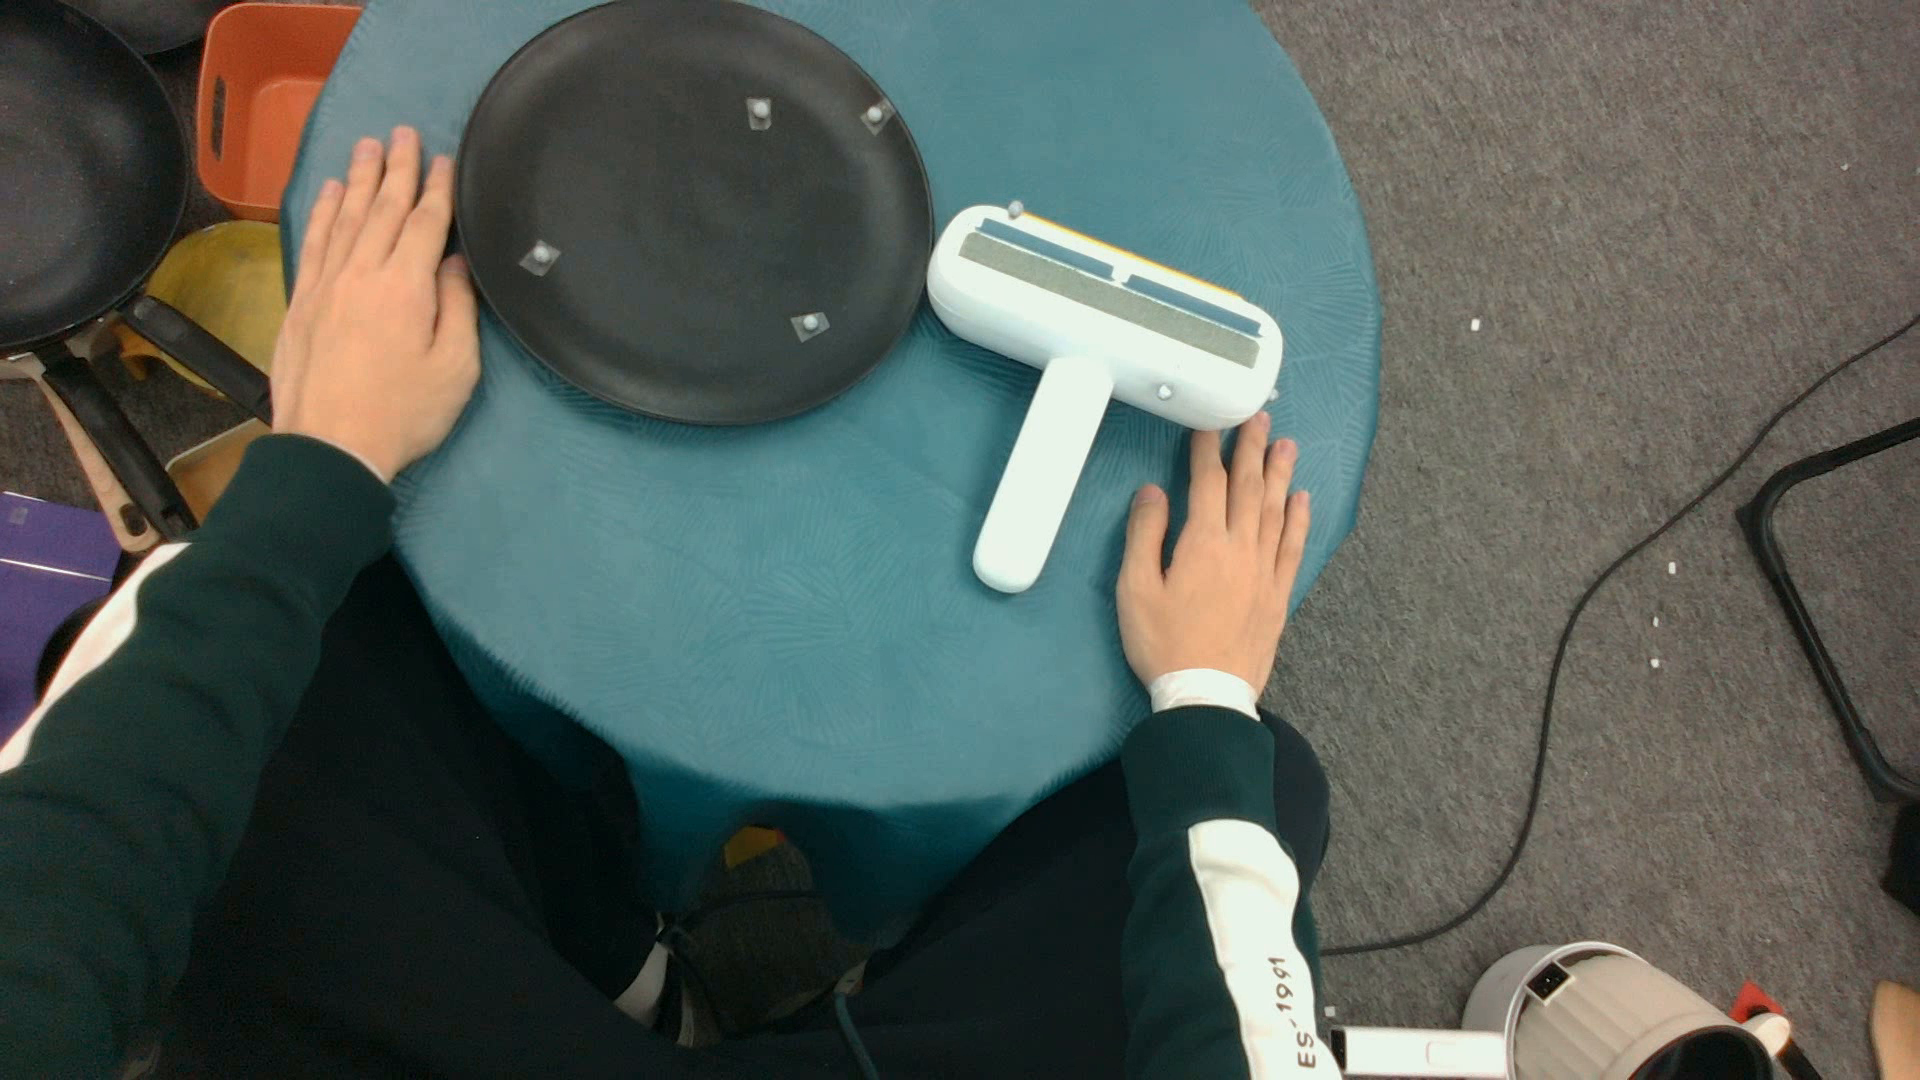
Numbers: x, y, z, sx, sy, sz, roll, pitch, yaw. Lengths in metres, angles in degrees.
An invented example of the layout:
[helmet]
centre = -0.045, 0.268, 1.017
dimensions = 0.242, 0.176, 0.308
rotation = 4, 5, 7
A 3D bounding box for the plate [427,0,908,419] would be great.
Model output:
[plate]
centre = -0.147, -0.175, 0.719
dimensions = 0.244, 0.023, 0.245
rotation = 4, 74, -15

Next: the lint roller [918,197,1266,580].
[lint roller]
centre = 0.043, -0.068, 0.739
dimensions = 0.193, 0.074, 0.192
rotation = 27, 84, 0
